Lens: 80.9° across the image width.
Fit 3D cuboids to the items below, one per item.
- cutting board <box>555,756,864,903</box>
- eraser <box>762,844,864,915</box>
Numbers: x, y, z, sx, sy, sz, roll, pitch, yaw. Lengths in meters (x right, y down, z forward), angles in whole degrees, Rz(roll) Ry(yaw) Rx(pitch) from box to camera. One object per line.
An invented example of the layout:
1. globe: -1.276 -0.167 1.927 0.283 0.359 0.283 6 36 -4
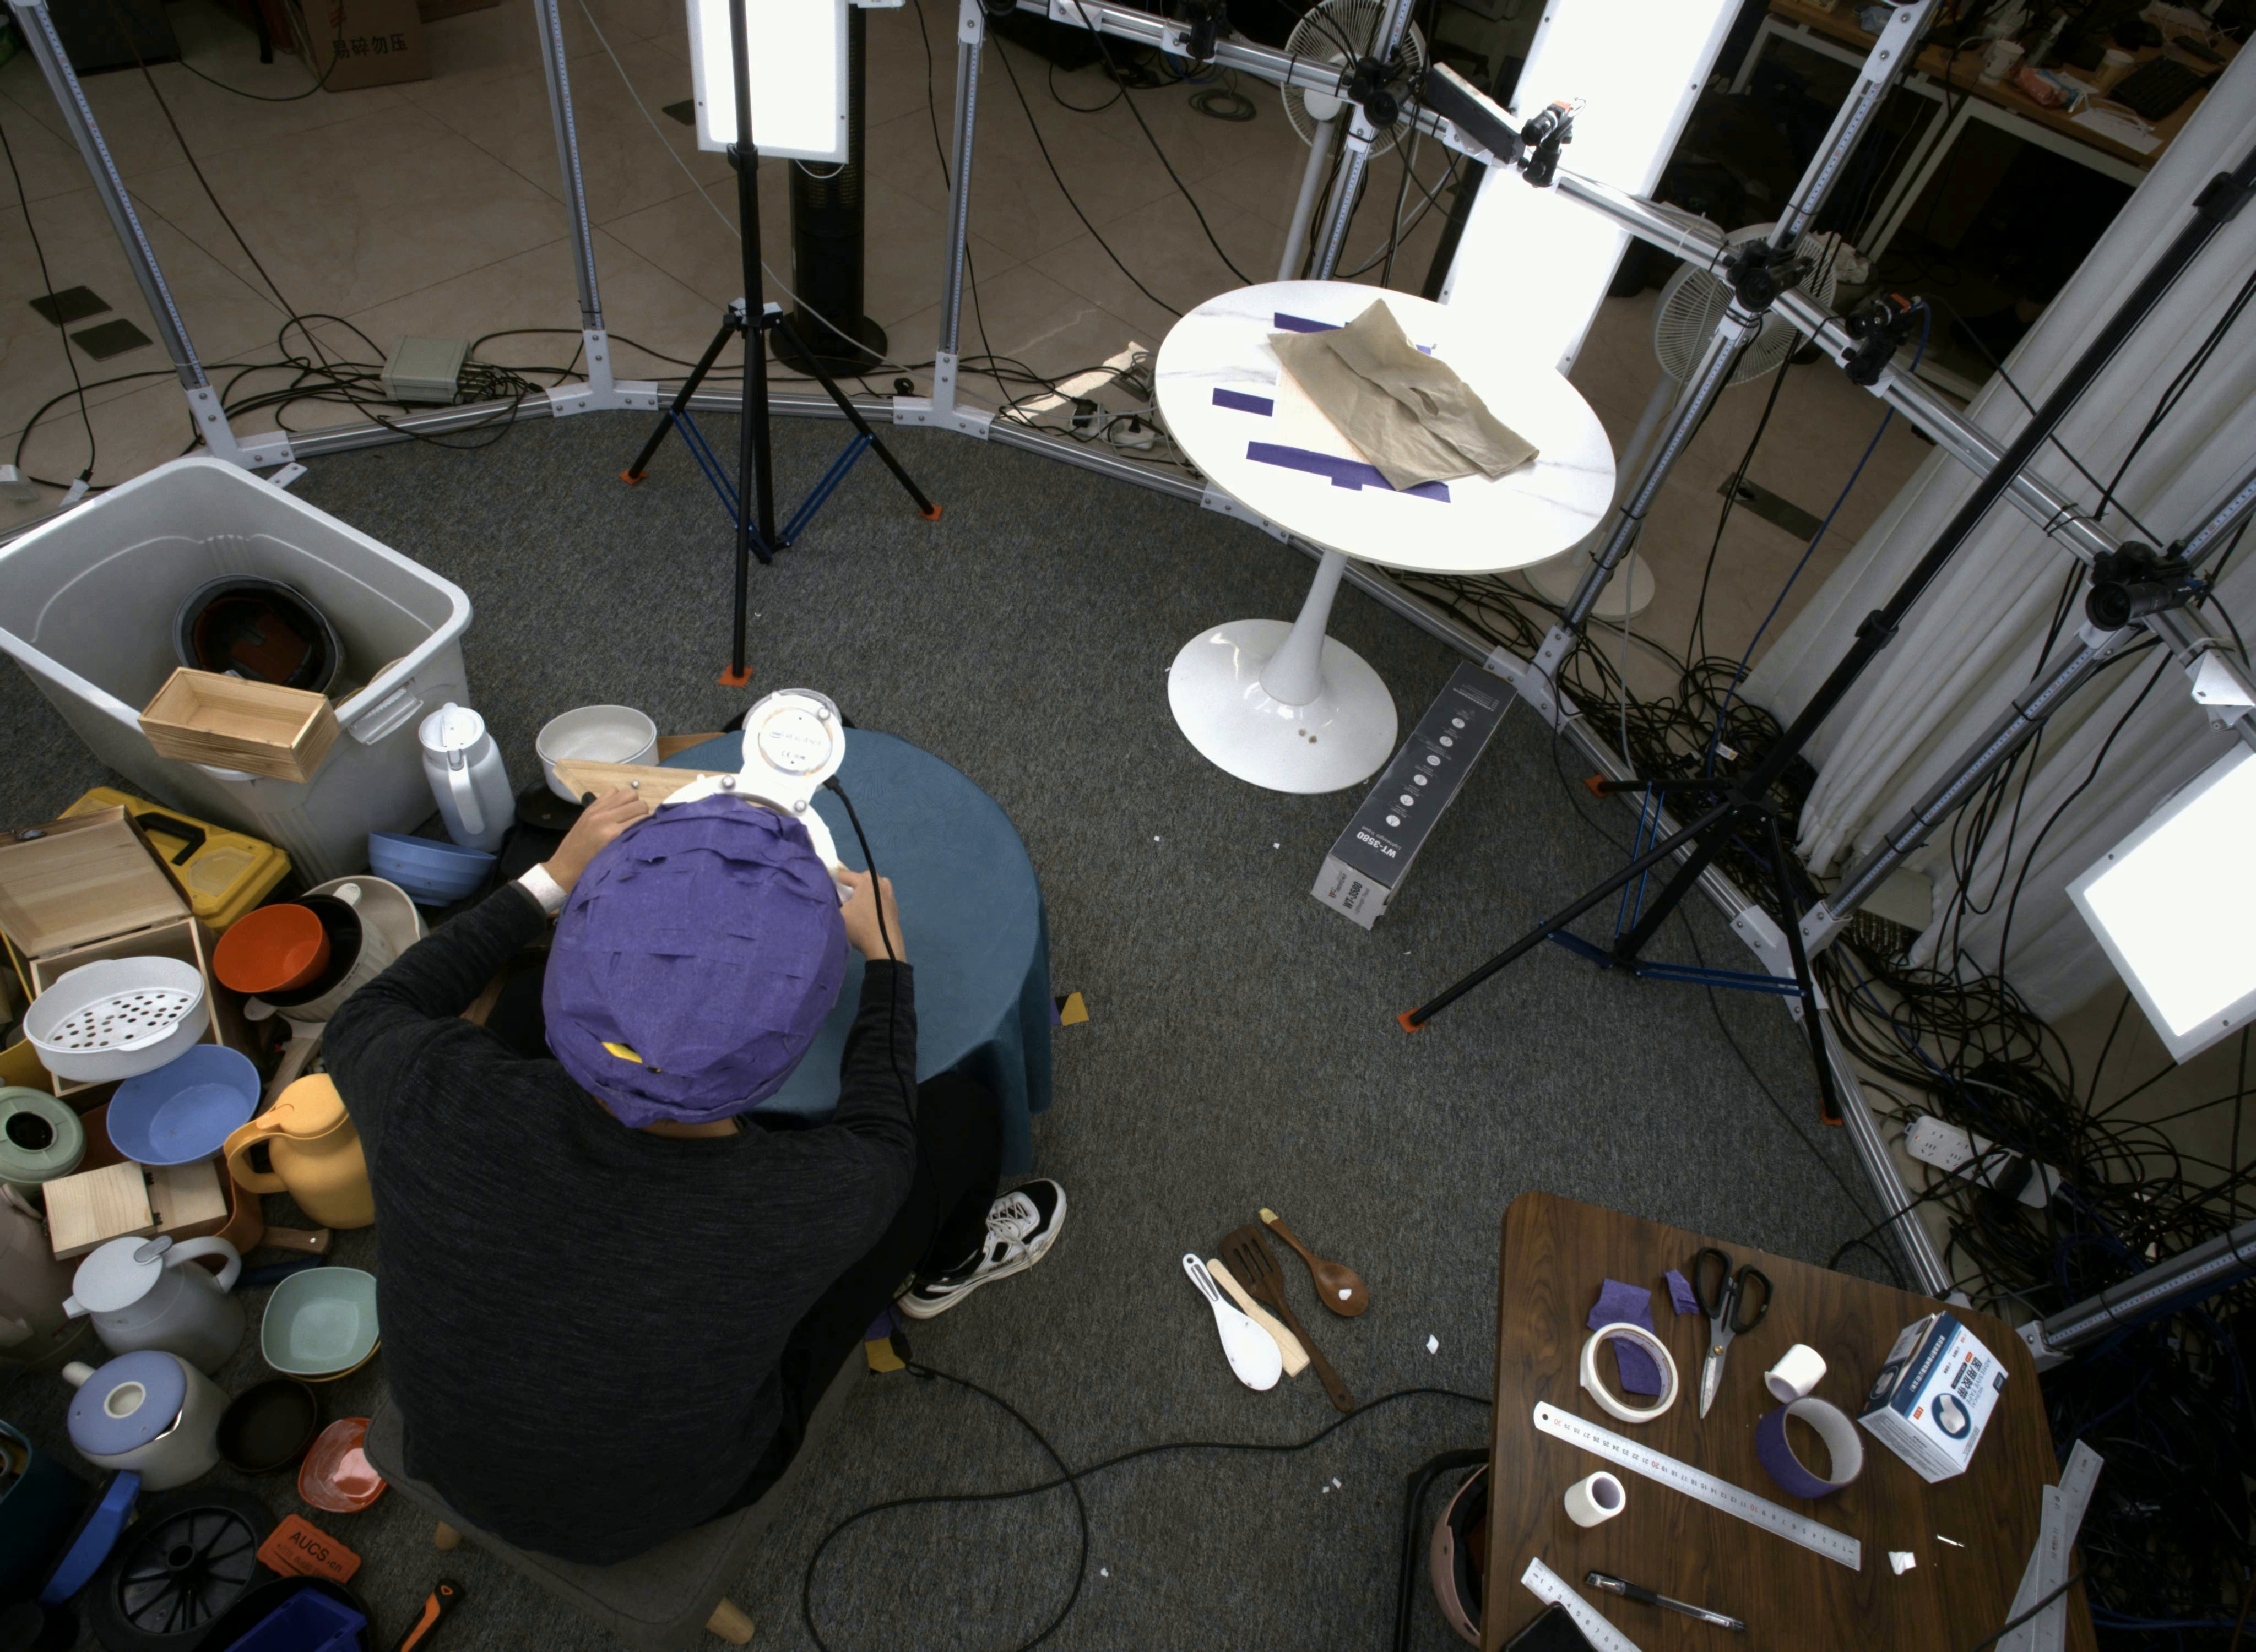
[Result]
1. cutting board: -0.495 0.005 1.540 0.245 0.024 0.354 41 14 18
2. eraser: -0.374 0.058 1.532 0.127 0.035 0.064 32 12 22
